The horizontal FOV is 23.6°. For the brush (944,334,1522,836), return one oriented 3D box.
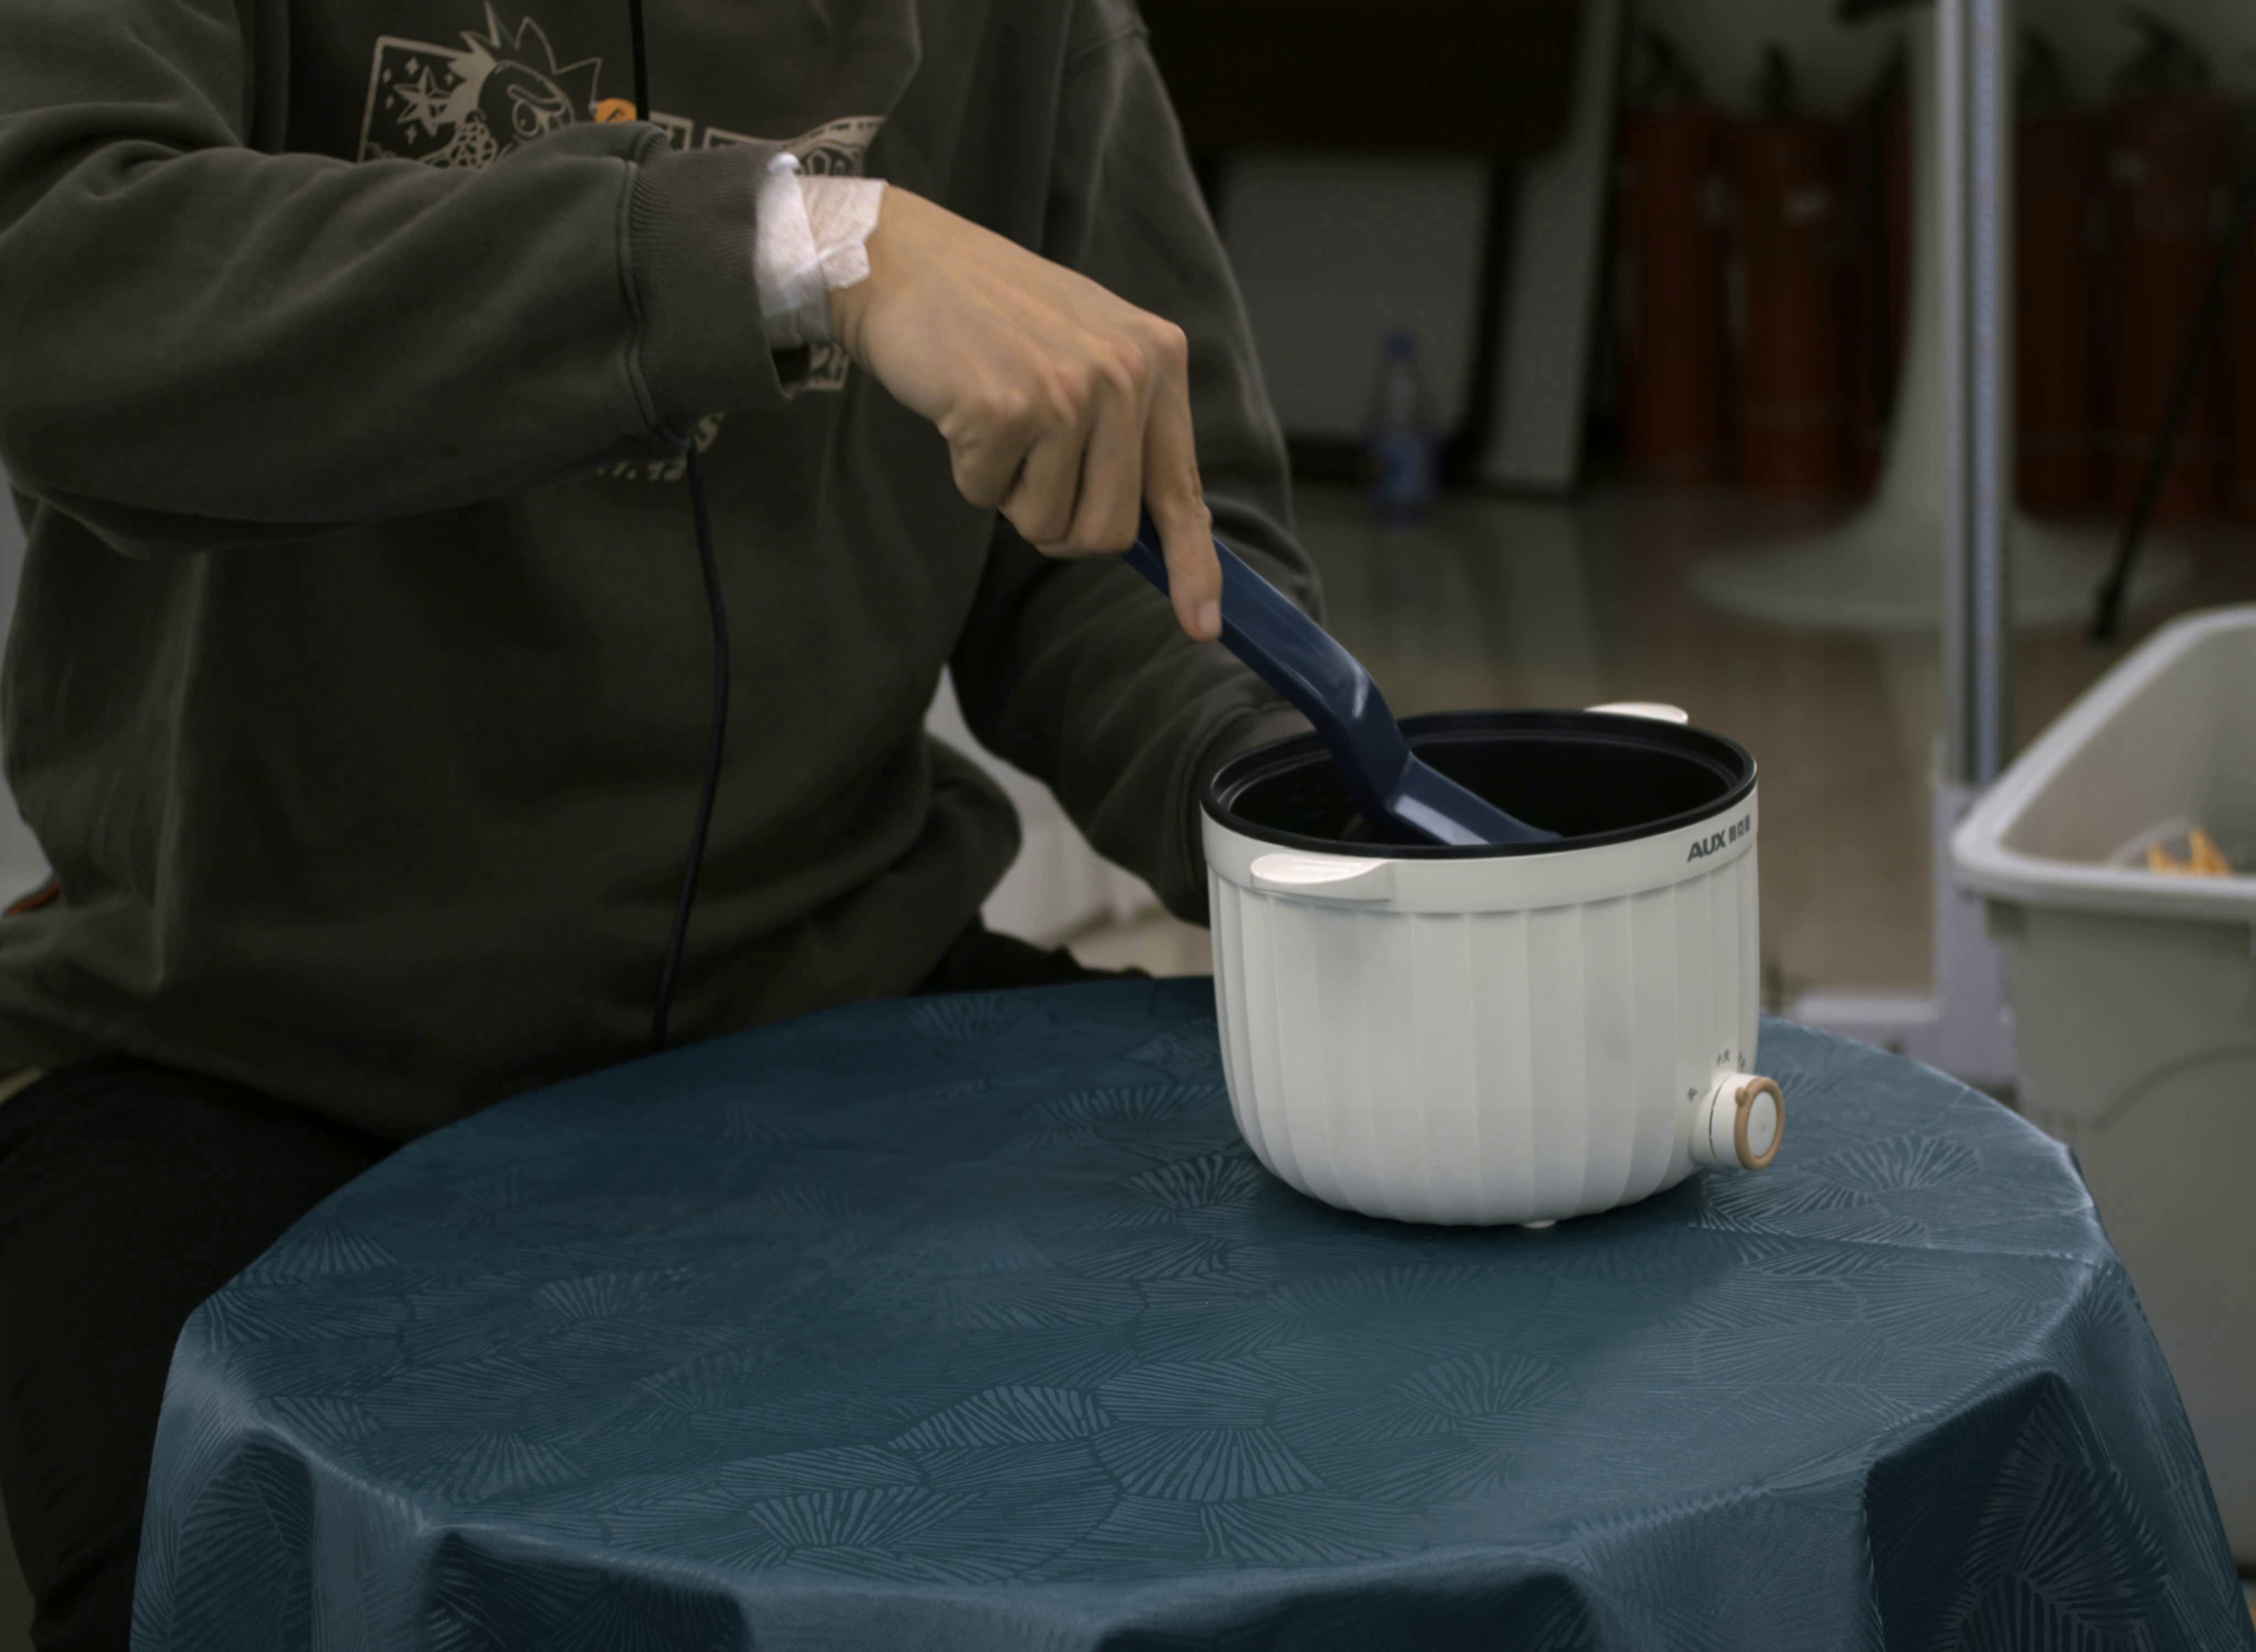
[{"bbox_3d":[0.055,-0.059,1.733,0.096,0.271,0.033,-20,29,52],"label":"brush"}]

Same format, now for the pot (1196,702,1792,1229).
[{"bbox_3d":[0.122,0.048,1.747,0.191,0.144,0.236,1,15,35],"label":"pot"}]
